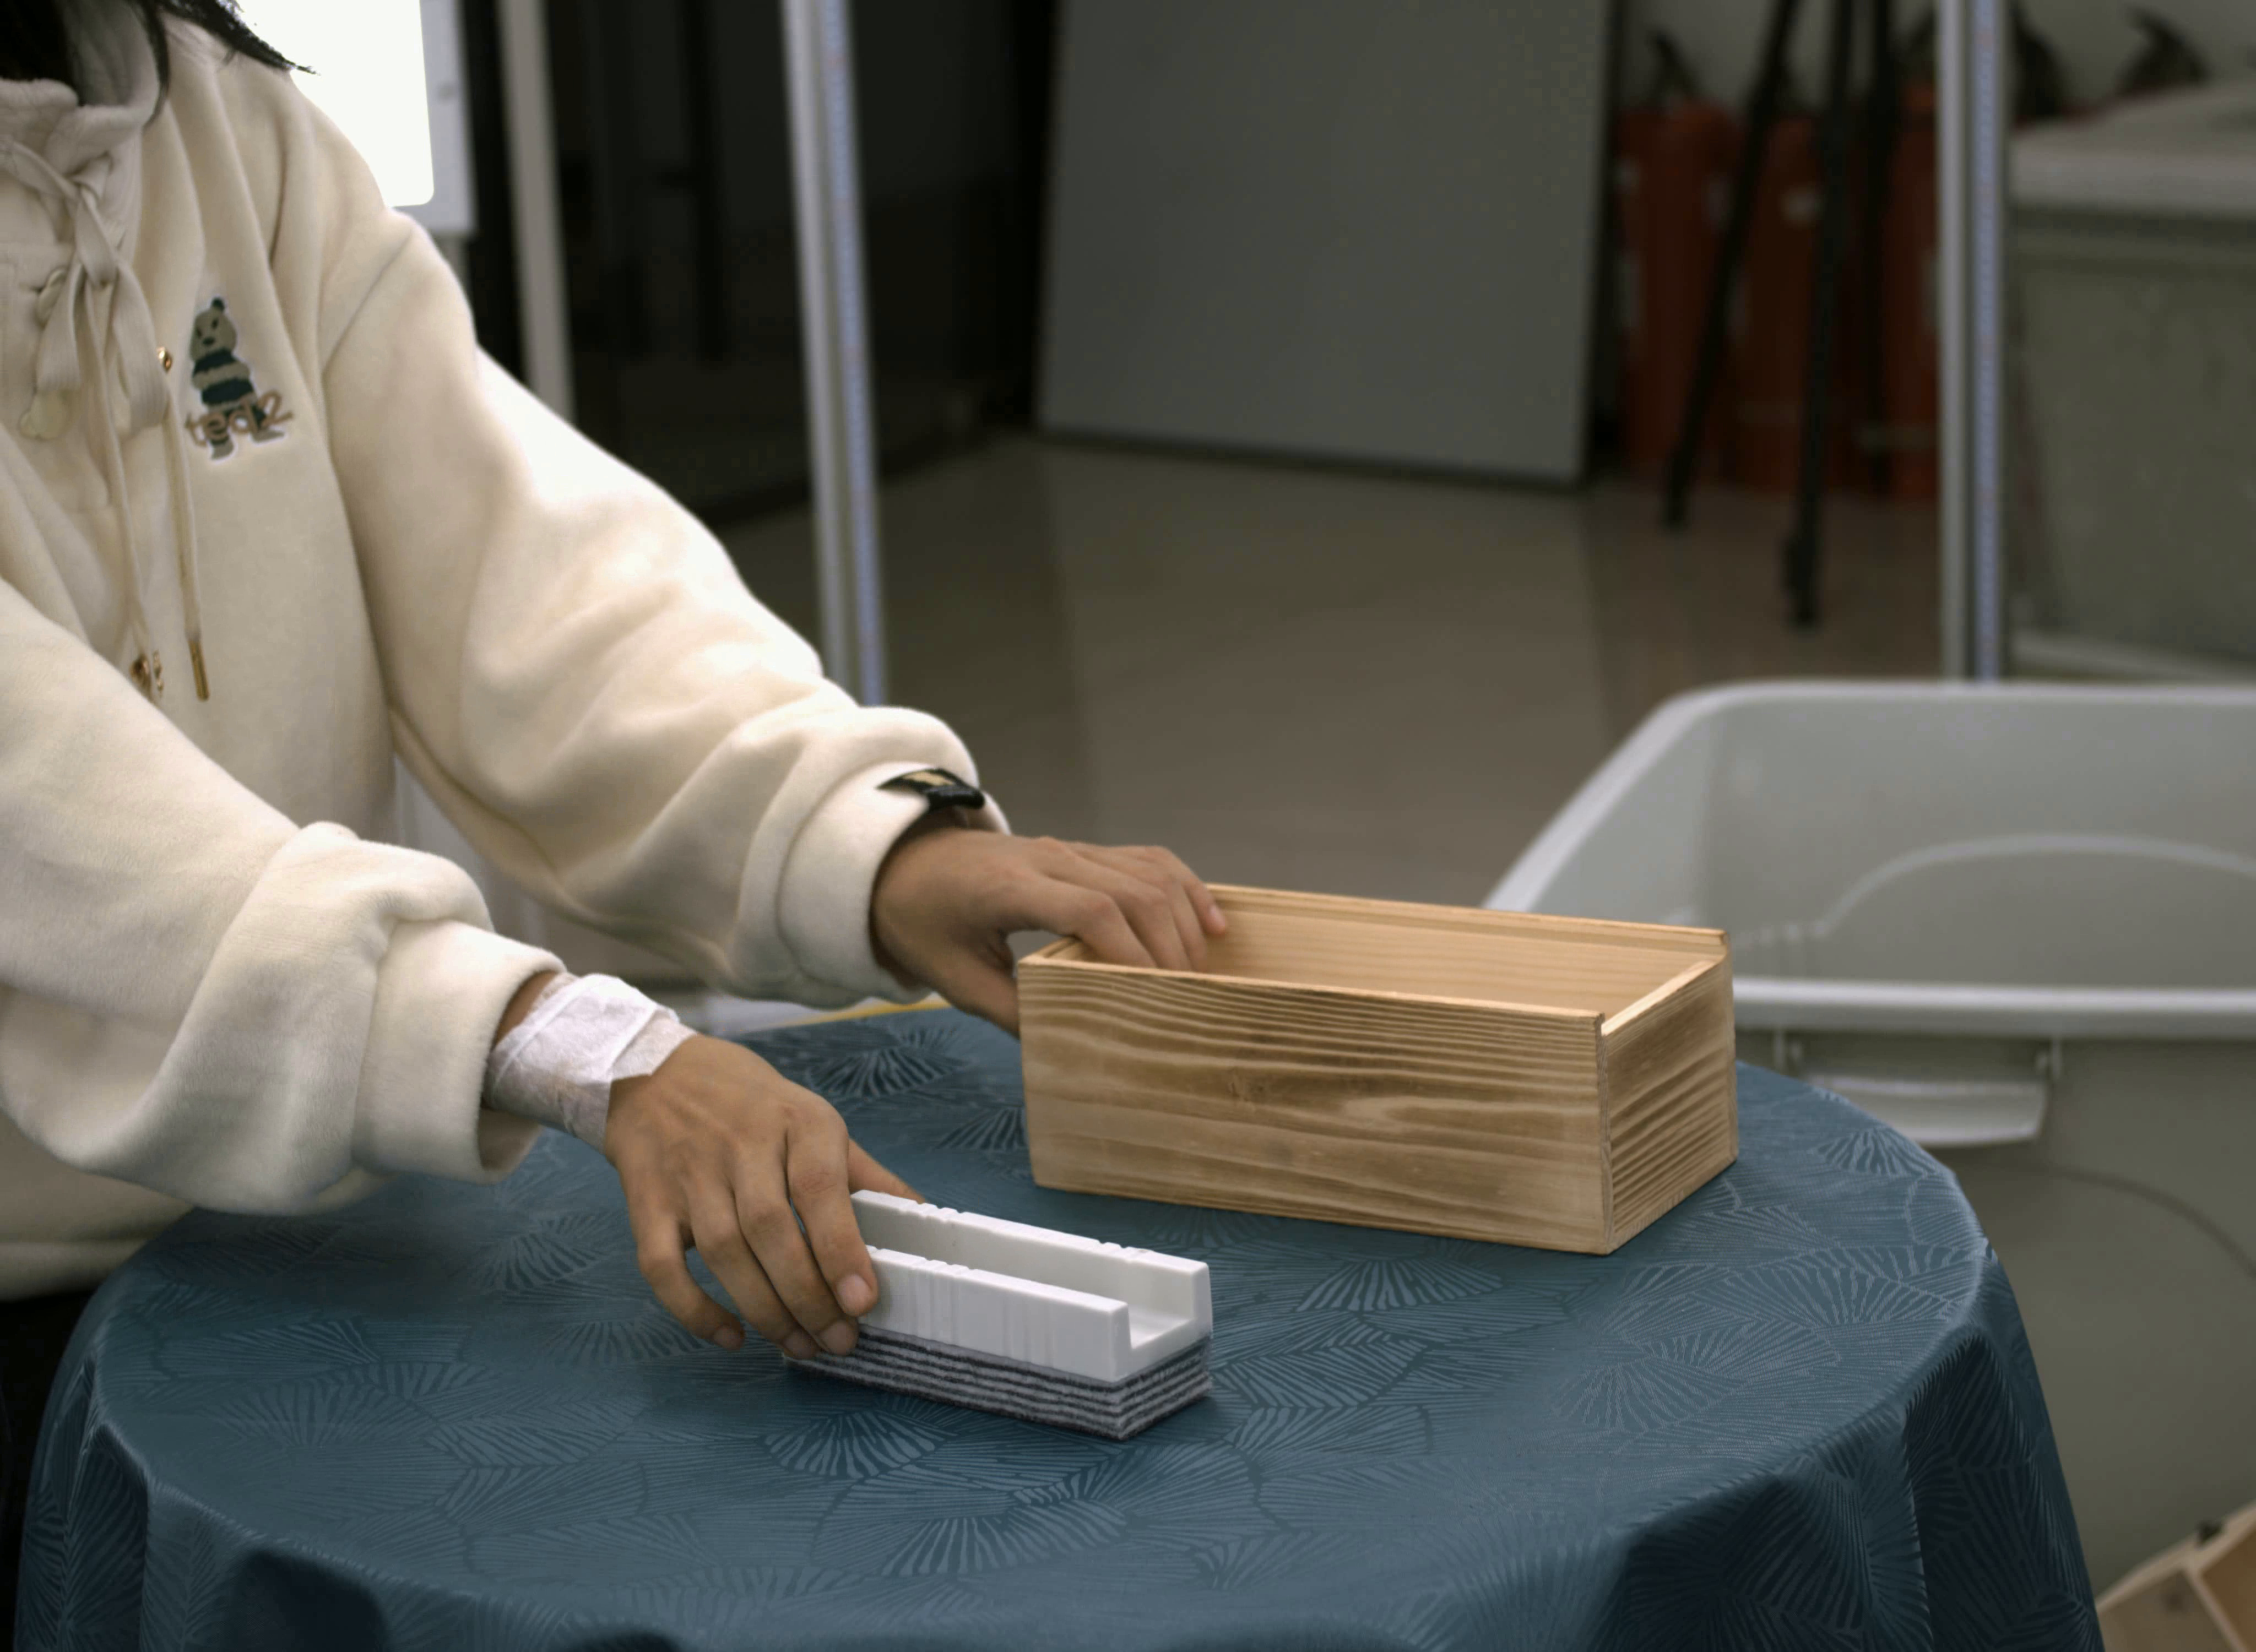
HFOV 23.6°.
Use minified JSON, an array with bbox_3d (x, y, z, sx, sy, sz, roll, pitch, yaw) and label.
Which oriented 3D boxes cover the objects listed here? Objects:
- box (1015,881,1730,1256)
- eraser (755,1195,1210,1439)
[{"bbox_3d":[0.080,0.077,1.760,0.212,0.081,0.106,5,15,30],"label":"box"},{"bbox_3d":[-0.043,0.144,1.592,0.135,0.047,0.049,8,20,36],"label":"eraser"}]
